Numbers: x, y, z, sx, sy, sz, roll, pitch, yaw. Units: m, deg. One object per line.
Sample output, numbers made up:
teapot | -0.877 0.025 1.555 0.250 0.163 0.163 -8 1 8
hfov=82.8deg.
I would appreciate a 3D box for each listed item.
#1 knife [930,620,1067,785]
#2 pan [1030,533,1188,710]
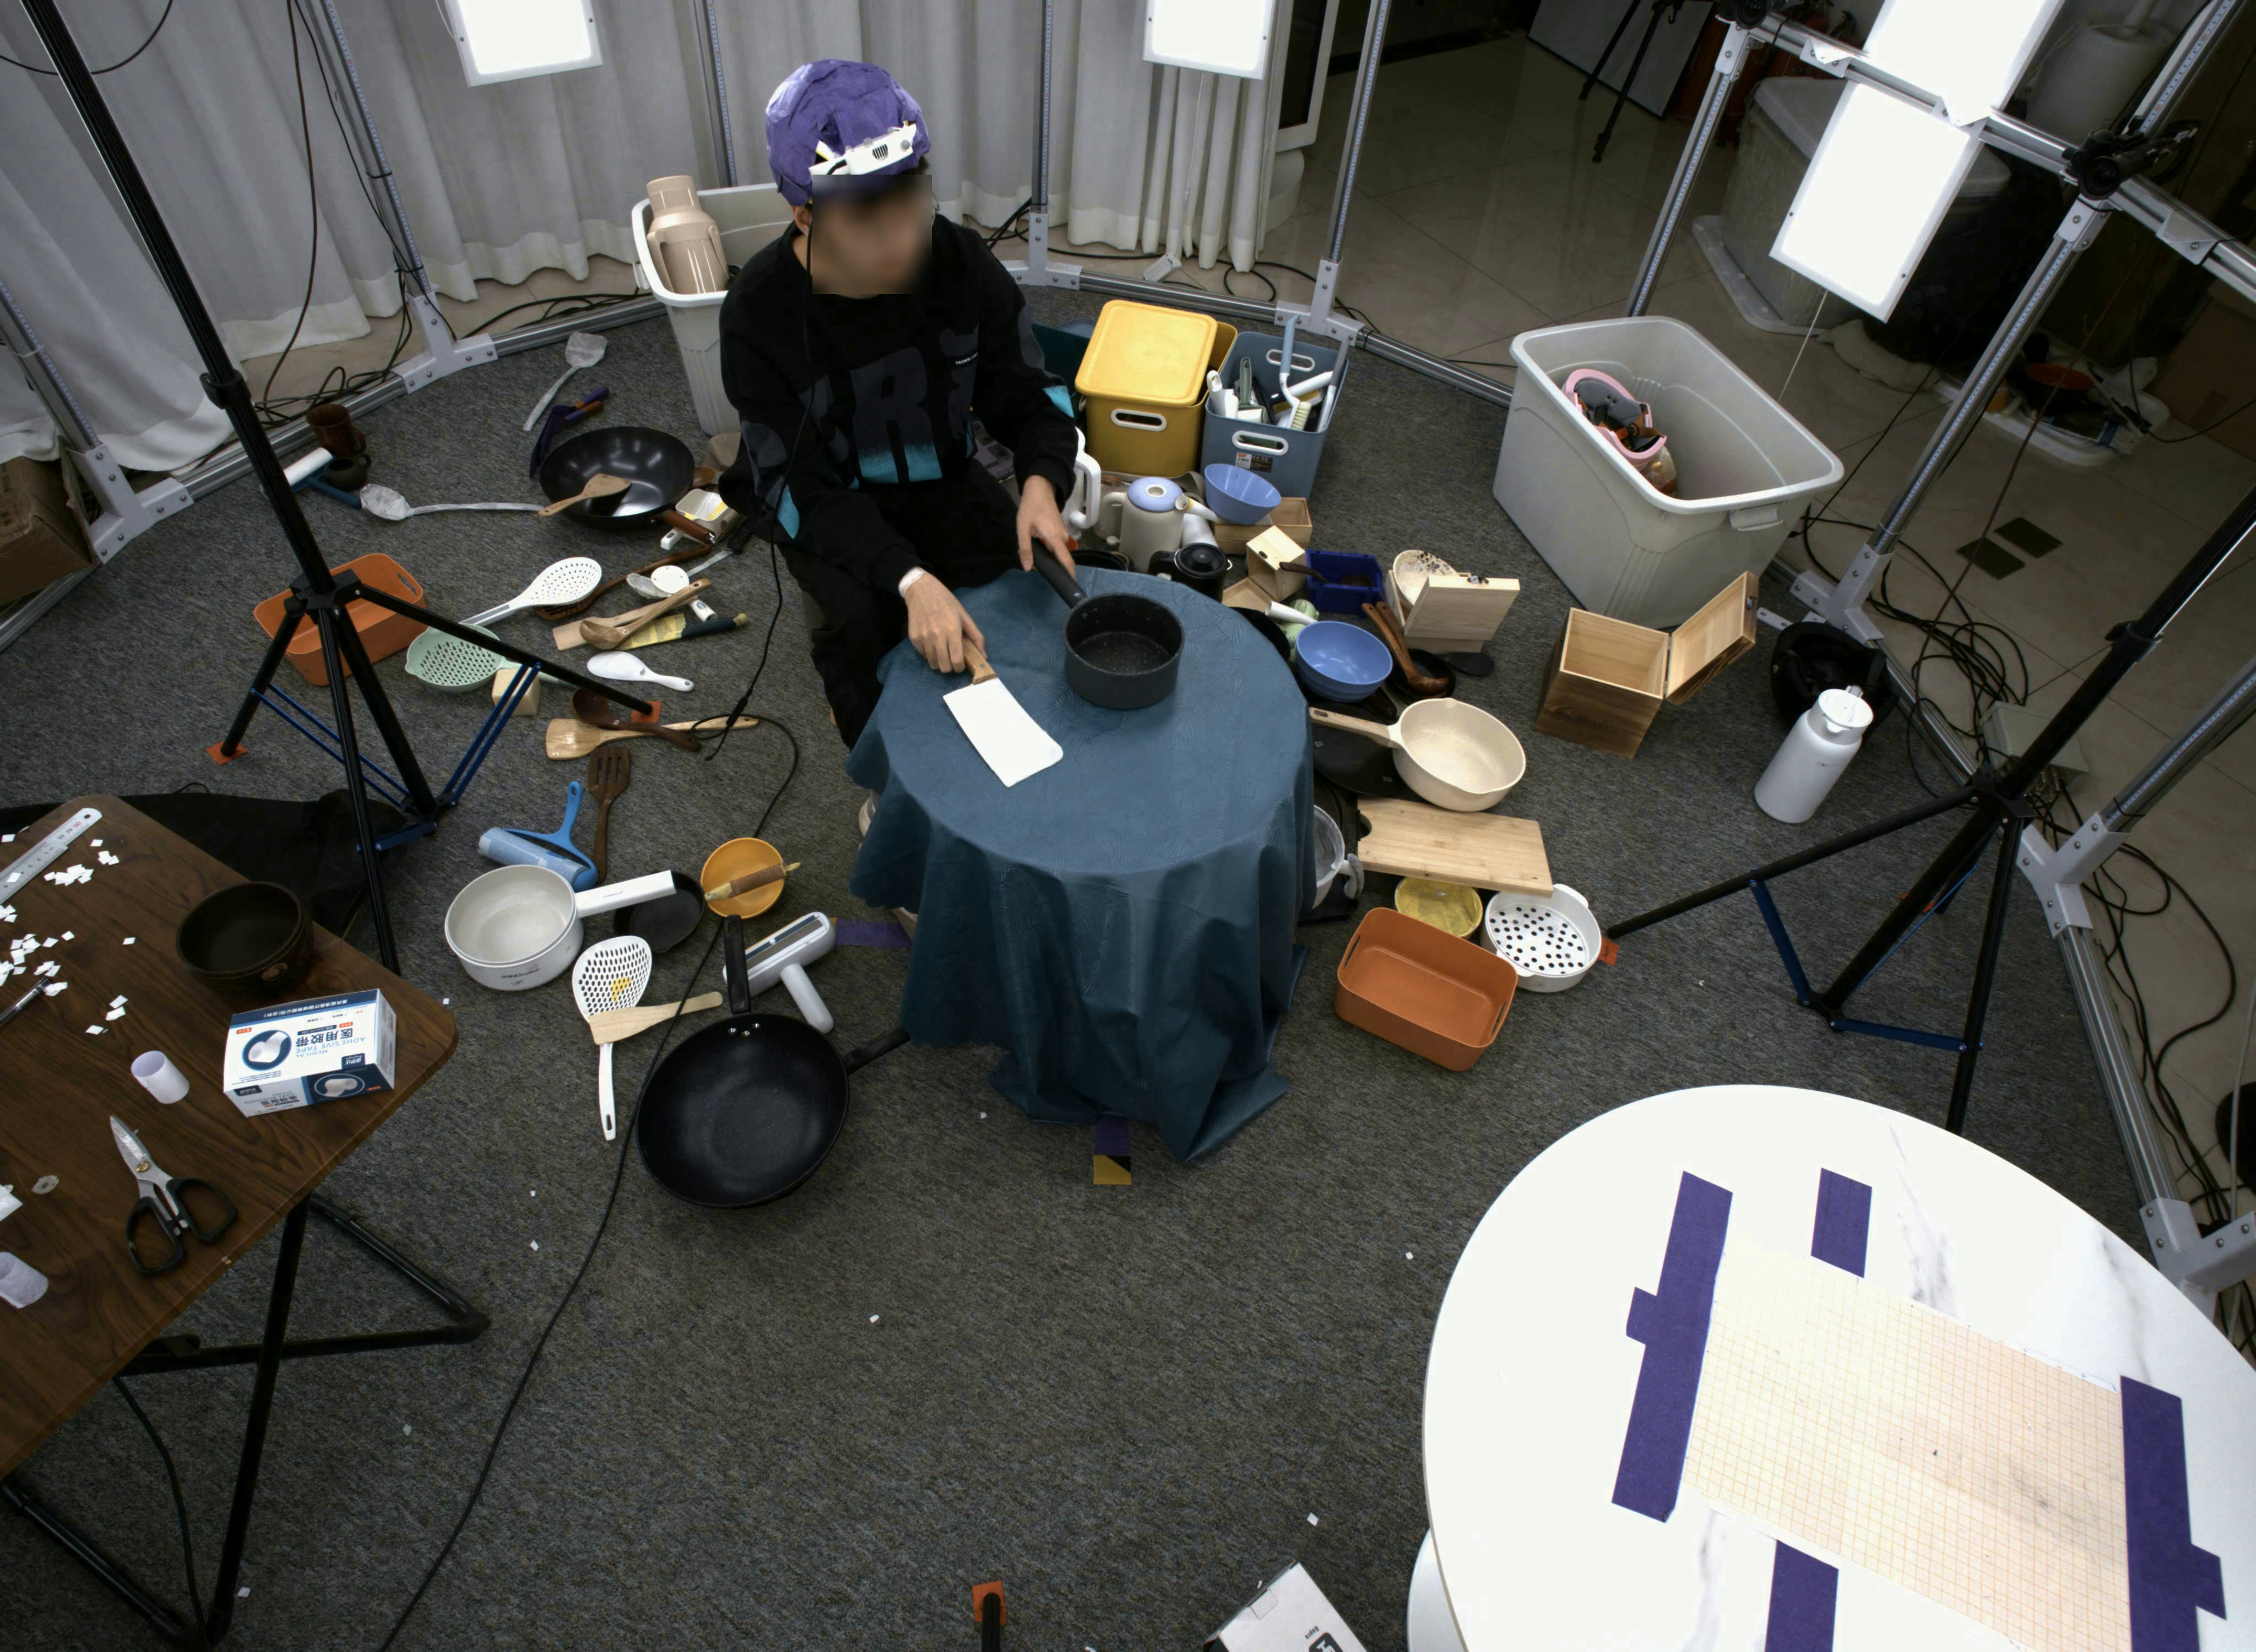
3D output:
knife | -0.194 -0.180 1.800 0.114 0.021 0.322 -21 56 -20
pan | -0.047 -0.301 1.873 0.173 0.084 0.335 -24 55 -25
